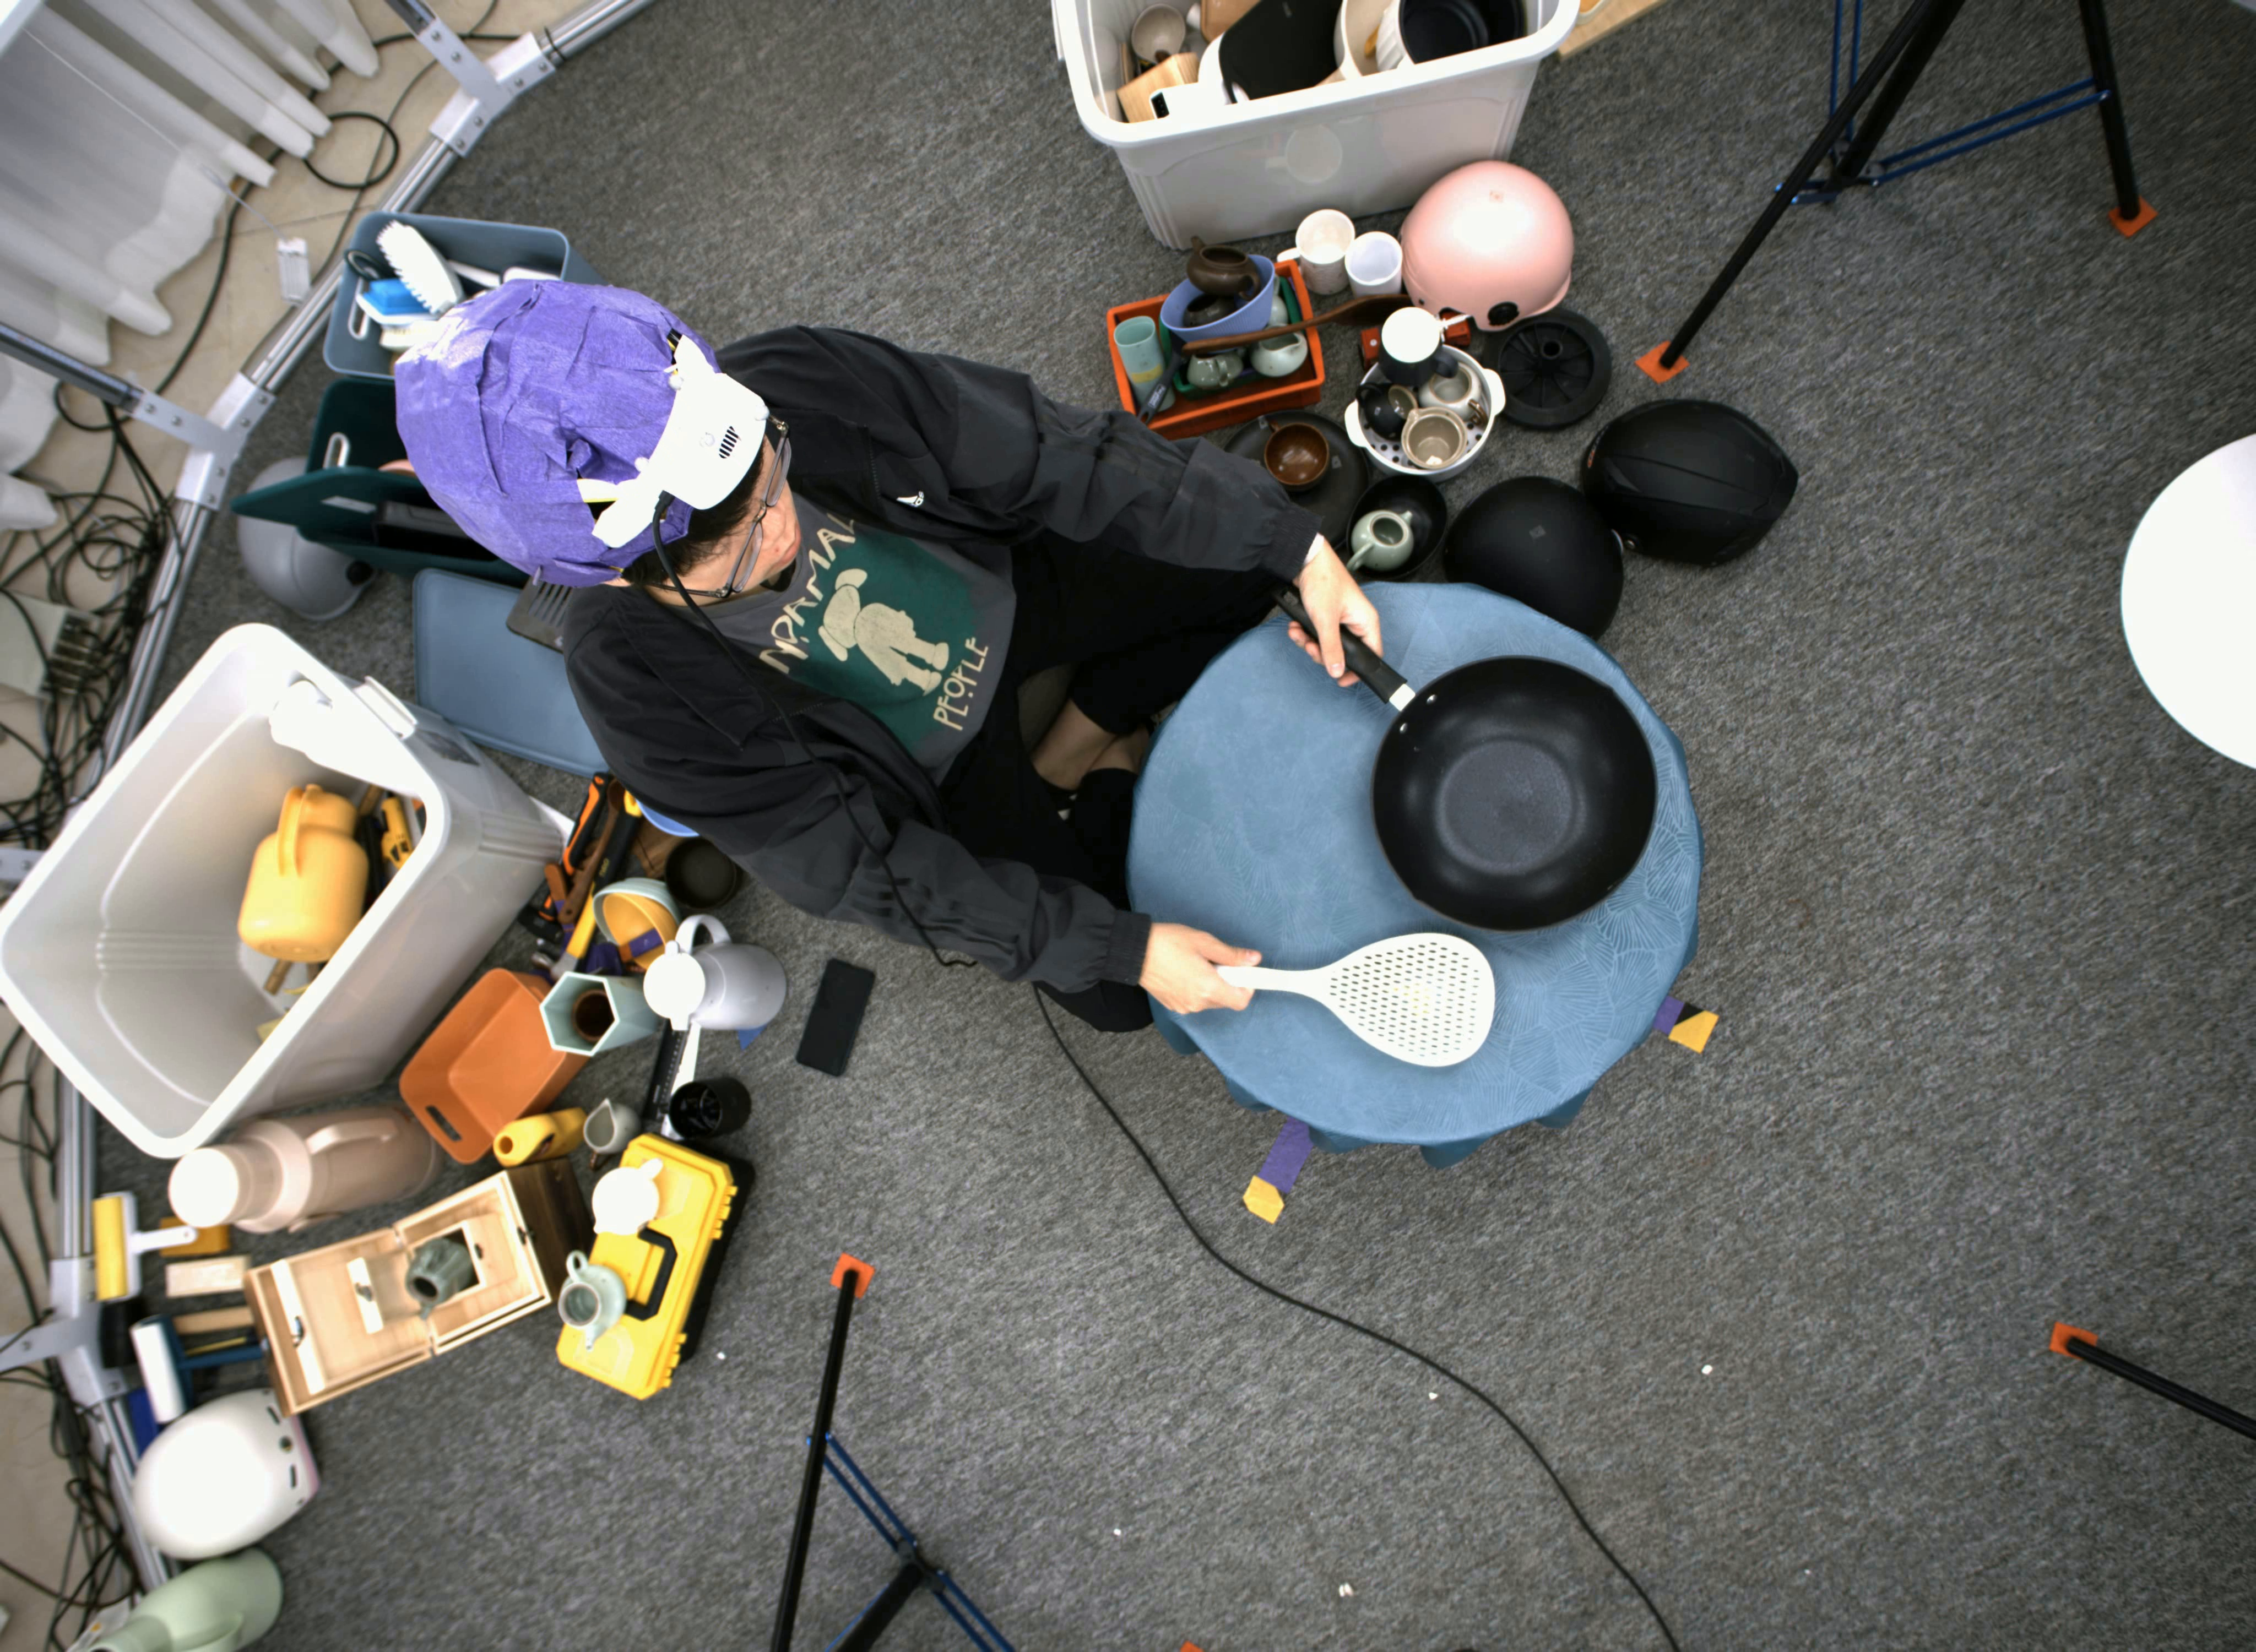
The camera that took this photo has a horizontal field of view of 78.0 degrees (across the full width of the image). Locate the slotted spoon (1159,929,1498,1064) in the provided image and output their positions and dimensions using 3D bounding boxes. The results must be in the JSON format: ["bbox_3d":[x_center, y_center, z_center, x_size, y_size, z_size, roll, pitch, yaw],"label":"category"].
[{"bbox_3d":[0.204,0.165,1.436,0.349,0.050,0.136,5,84,7],"label":"slotted spoon"}]

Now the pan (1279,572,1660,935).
[{"bbox_3d":[0.325,-0.091,1.416,0.460,0.087,0.289,45,95,13],"label":"pan"}]
